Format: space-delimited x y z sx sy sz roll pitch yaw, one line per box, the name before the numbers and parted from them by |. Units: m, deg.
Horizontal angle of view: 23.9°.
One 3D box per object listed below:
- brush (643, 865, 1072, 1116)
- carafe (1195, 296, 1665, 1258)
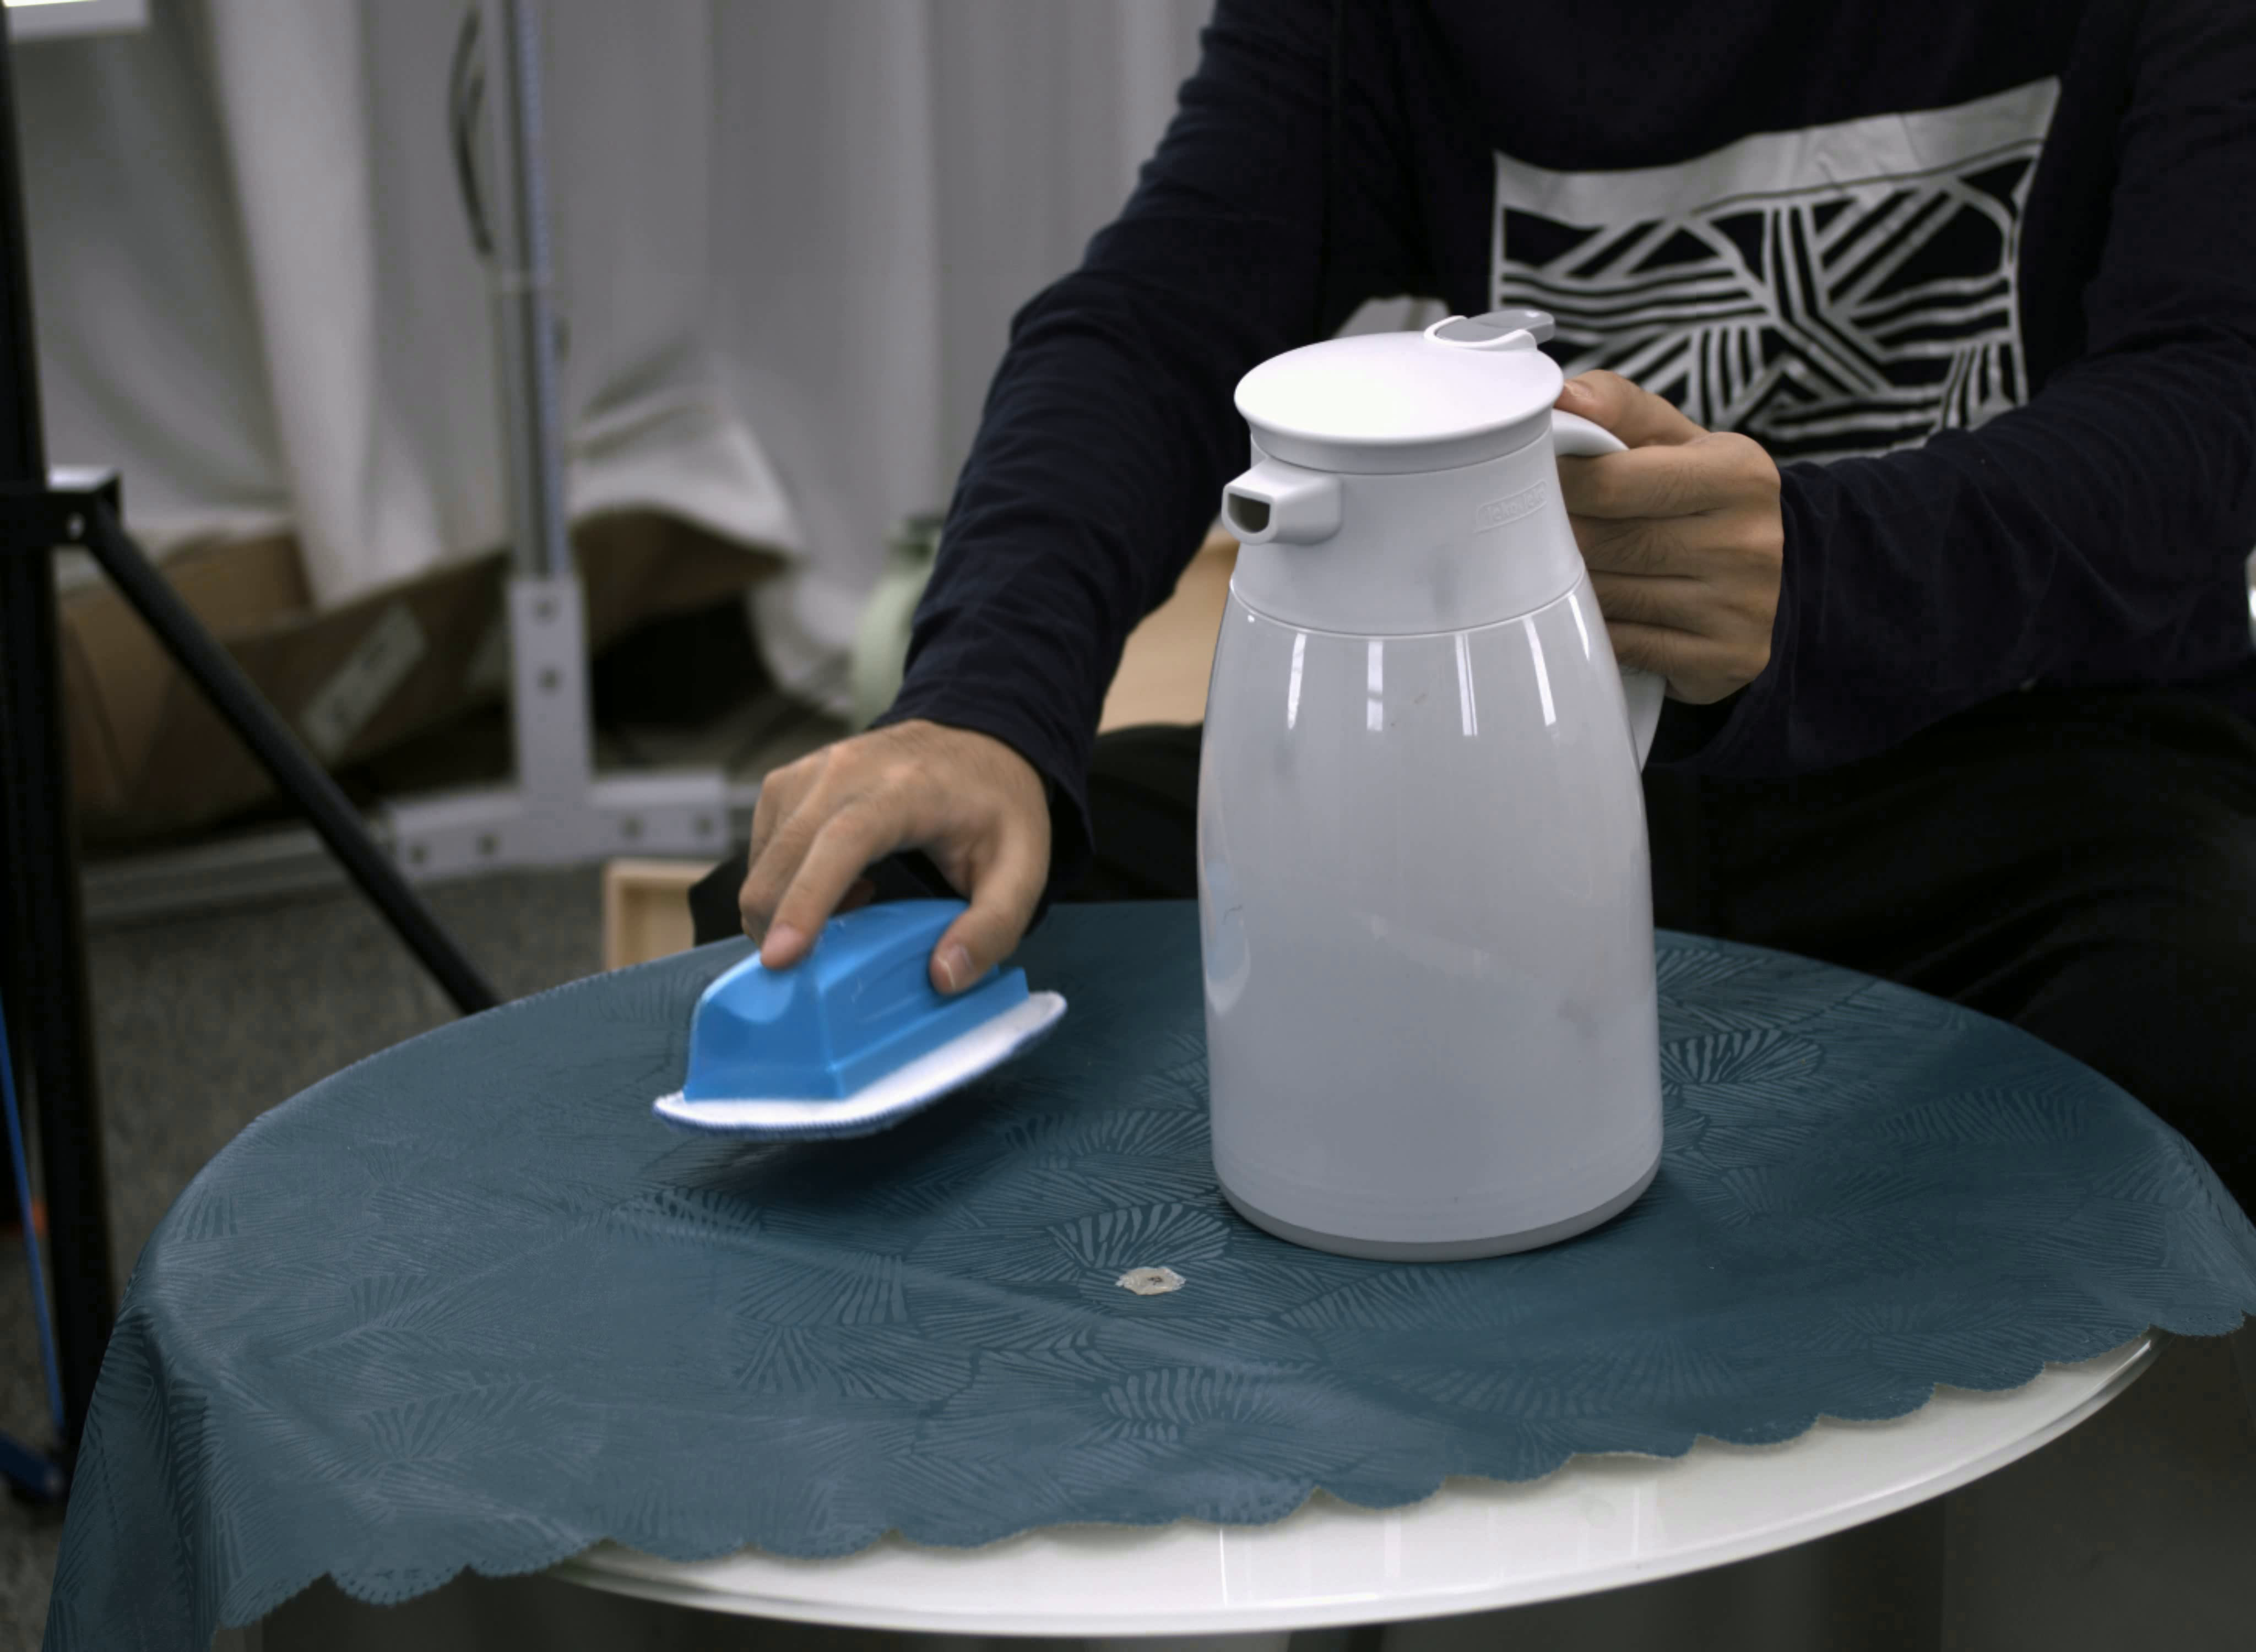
brush | -0.081 0.048 1.617 0.085 0.056 0.141 1 14 31
carafe | 0.094 -0.023 1.519 0.135 0.248 0.164 16 29 41
